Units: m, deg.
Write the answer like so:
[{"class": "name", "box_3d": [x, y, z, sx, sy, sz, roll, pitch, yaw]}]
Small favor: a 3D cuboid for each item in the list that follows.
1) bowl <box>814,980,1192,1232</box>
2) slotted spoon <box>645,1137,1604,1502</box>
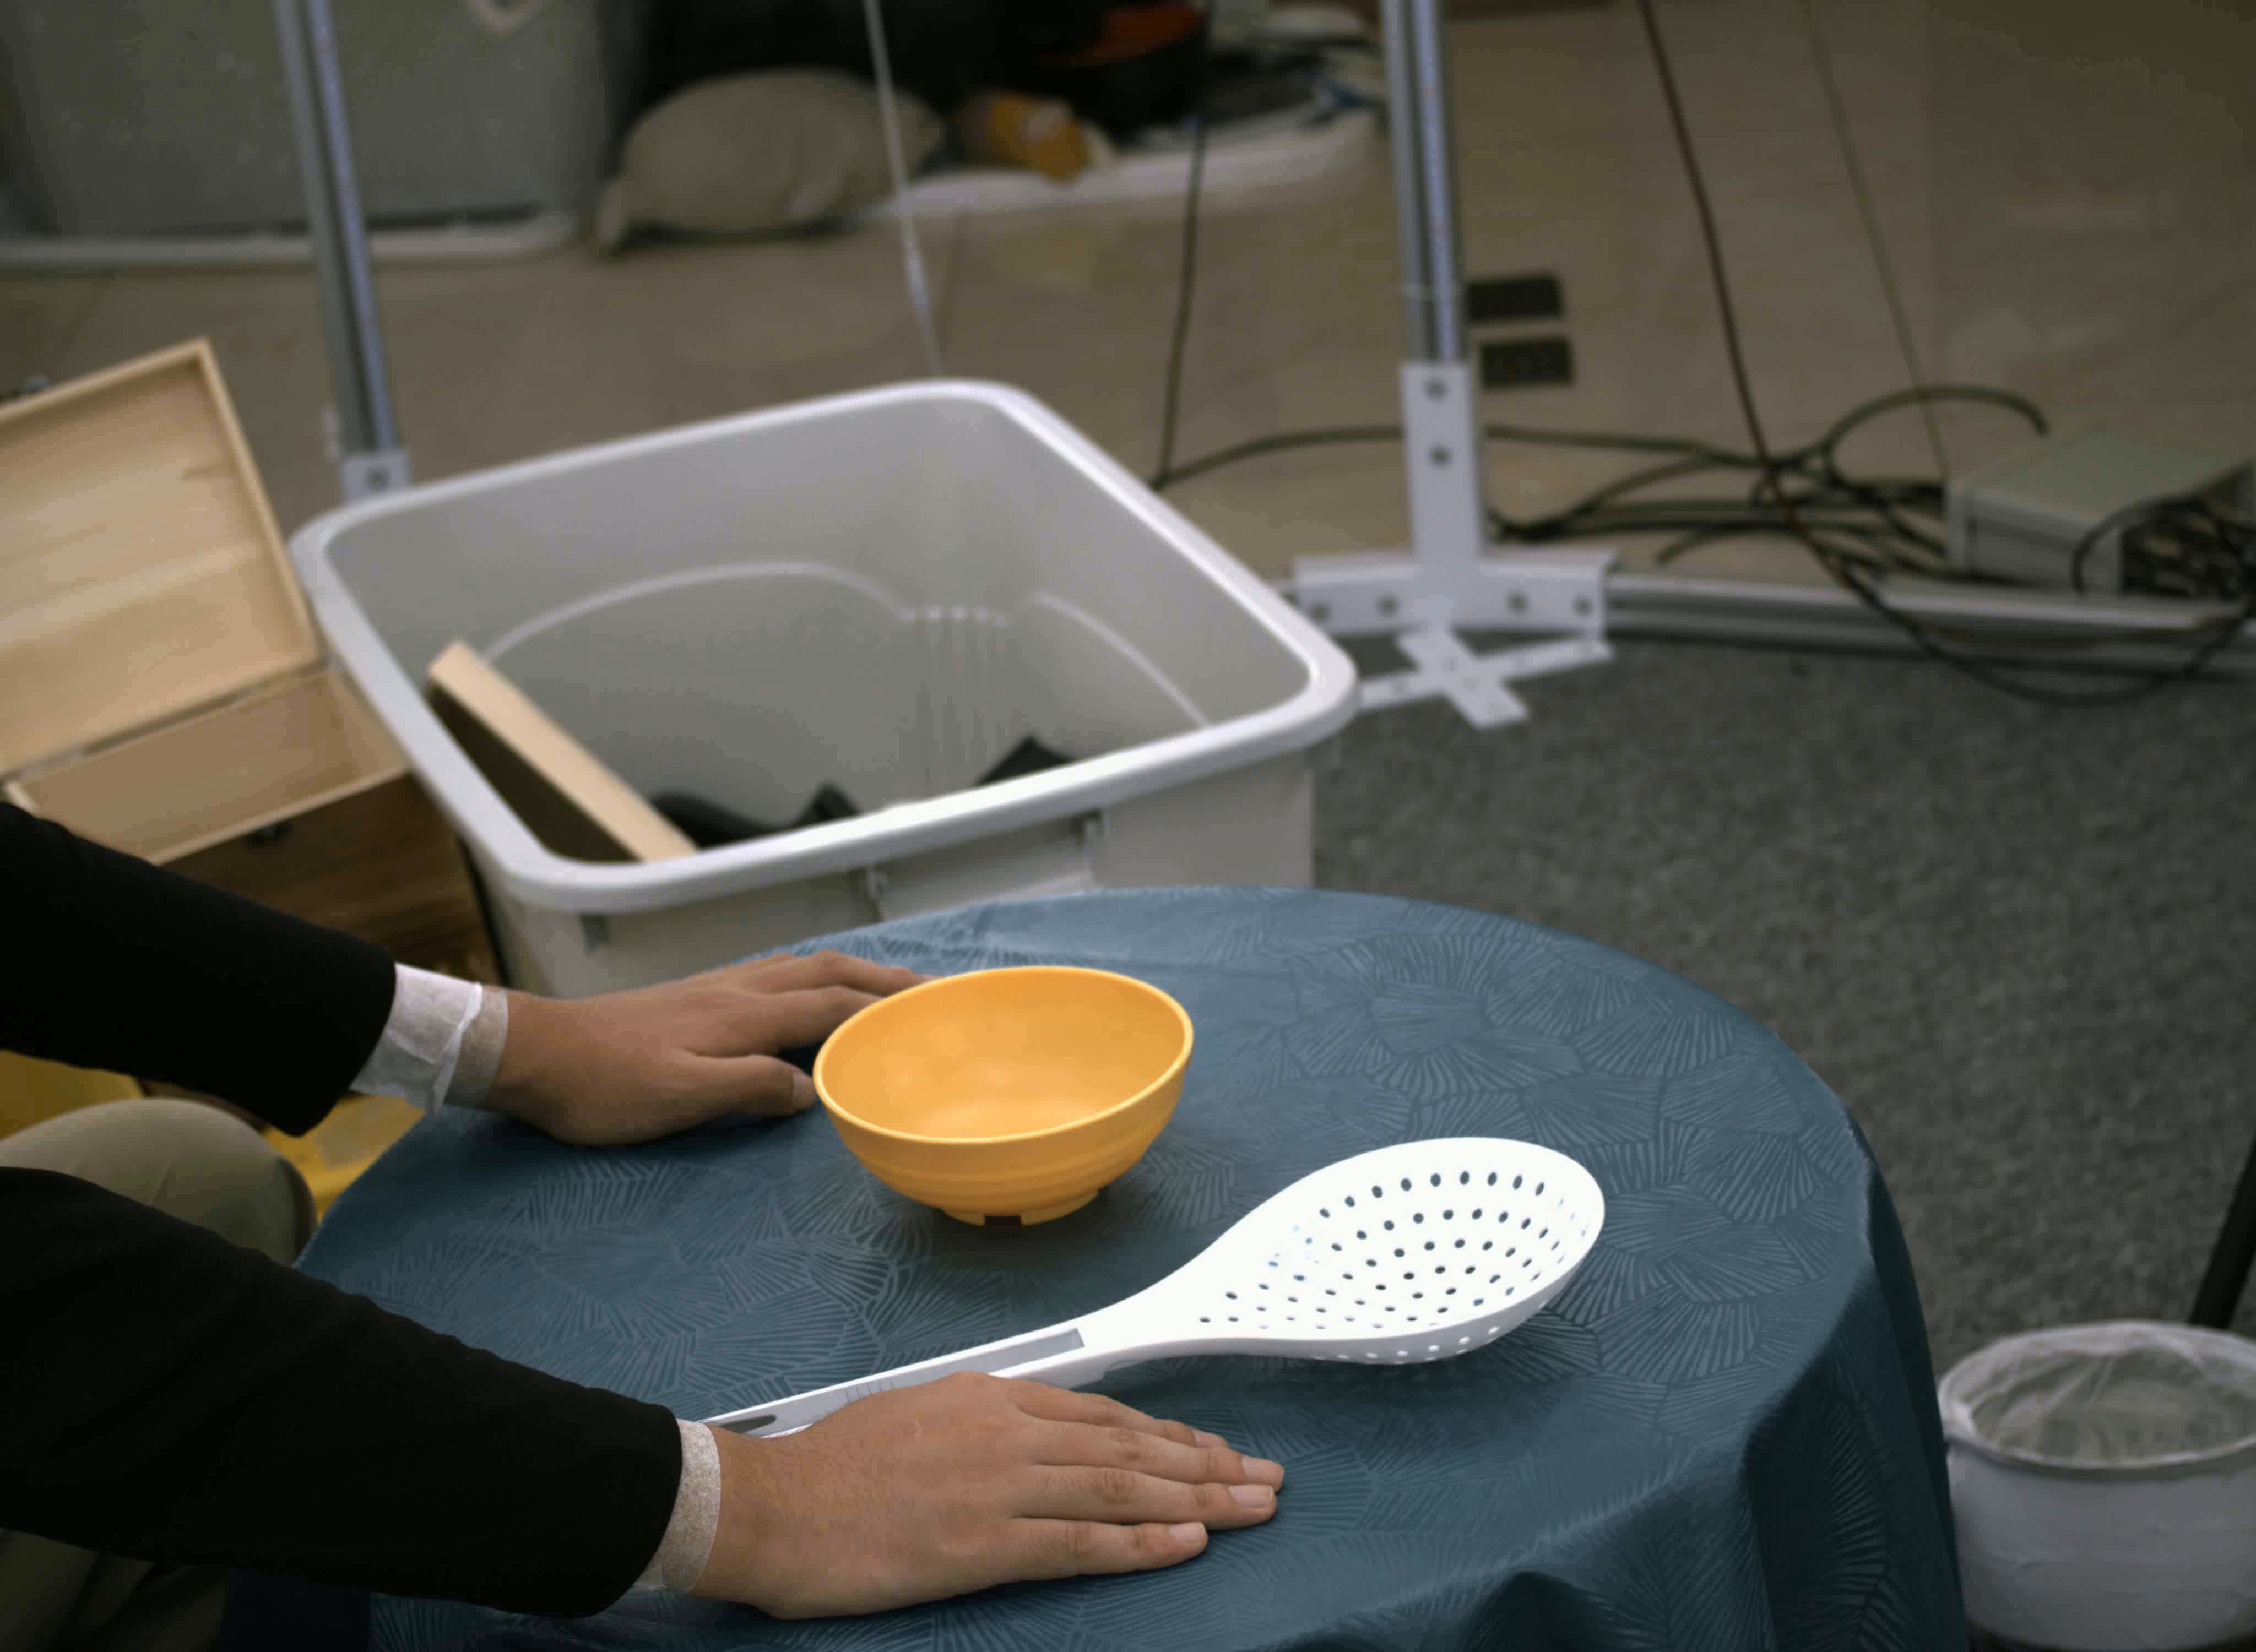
[{"class": "bowl", "box_3d": [-0.045, 0.113, 2.148, 0.145, 0.061, 0.143, -5, 23, 2]}, {"class": "slotted spoon", "box_3d": [0.000, 0.180, 2.005, 0.349, 0.046, 0.134, -11, 25, -8]}]
